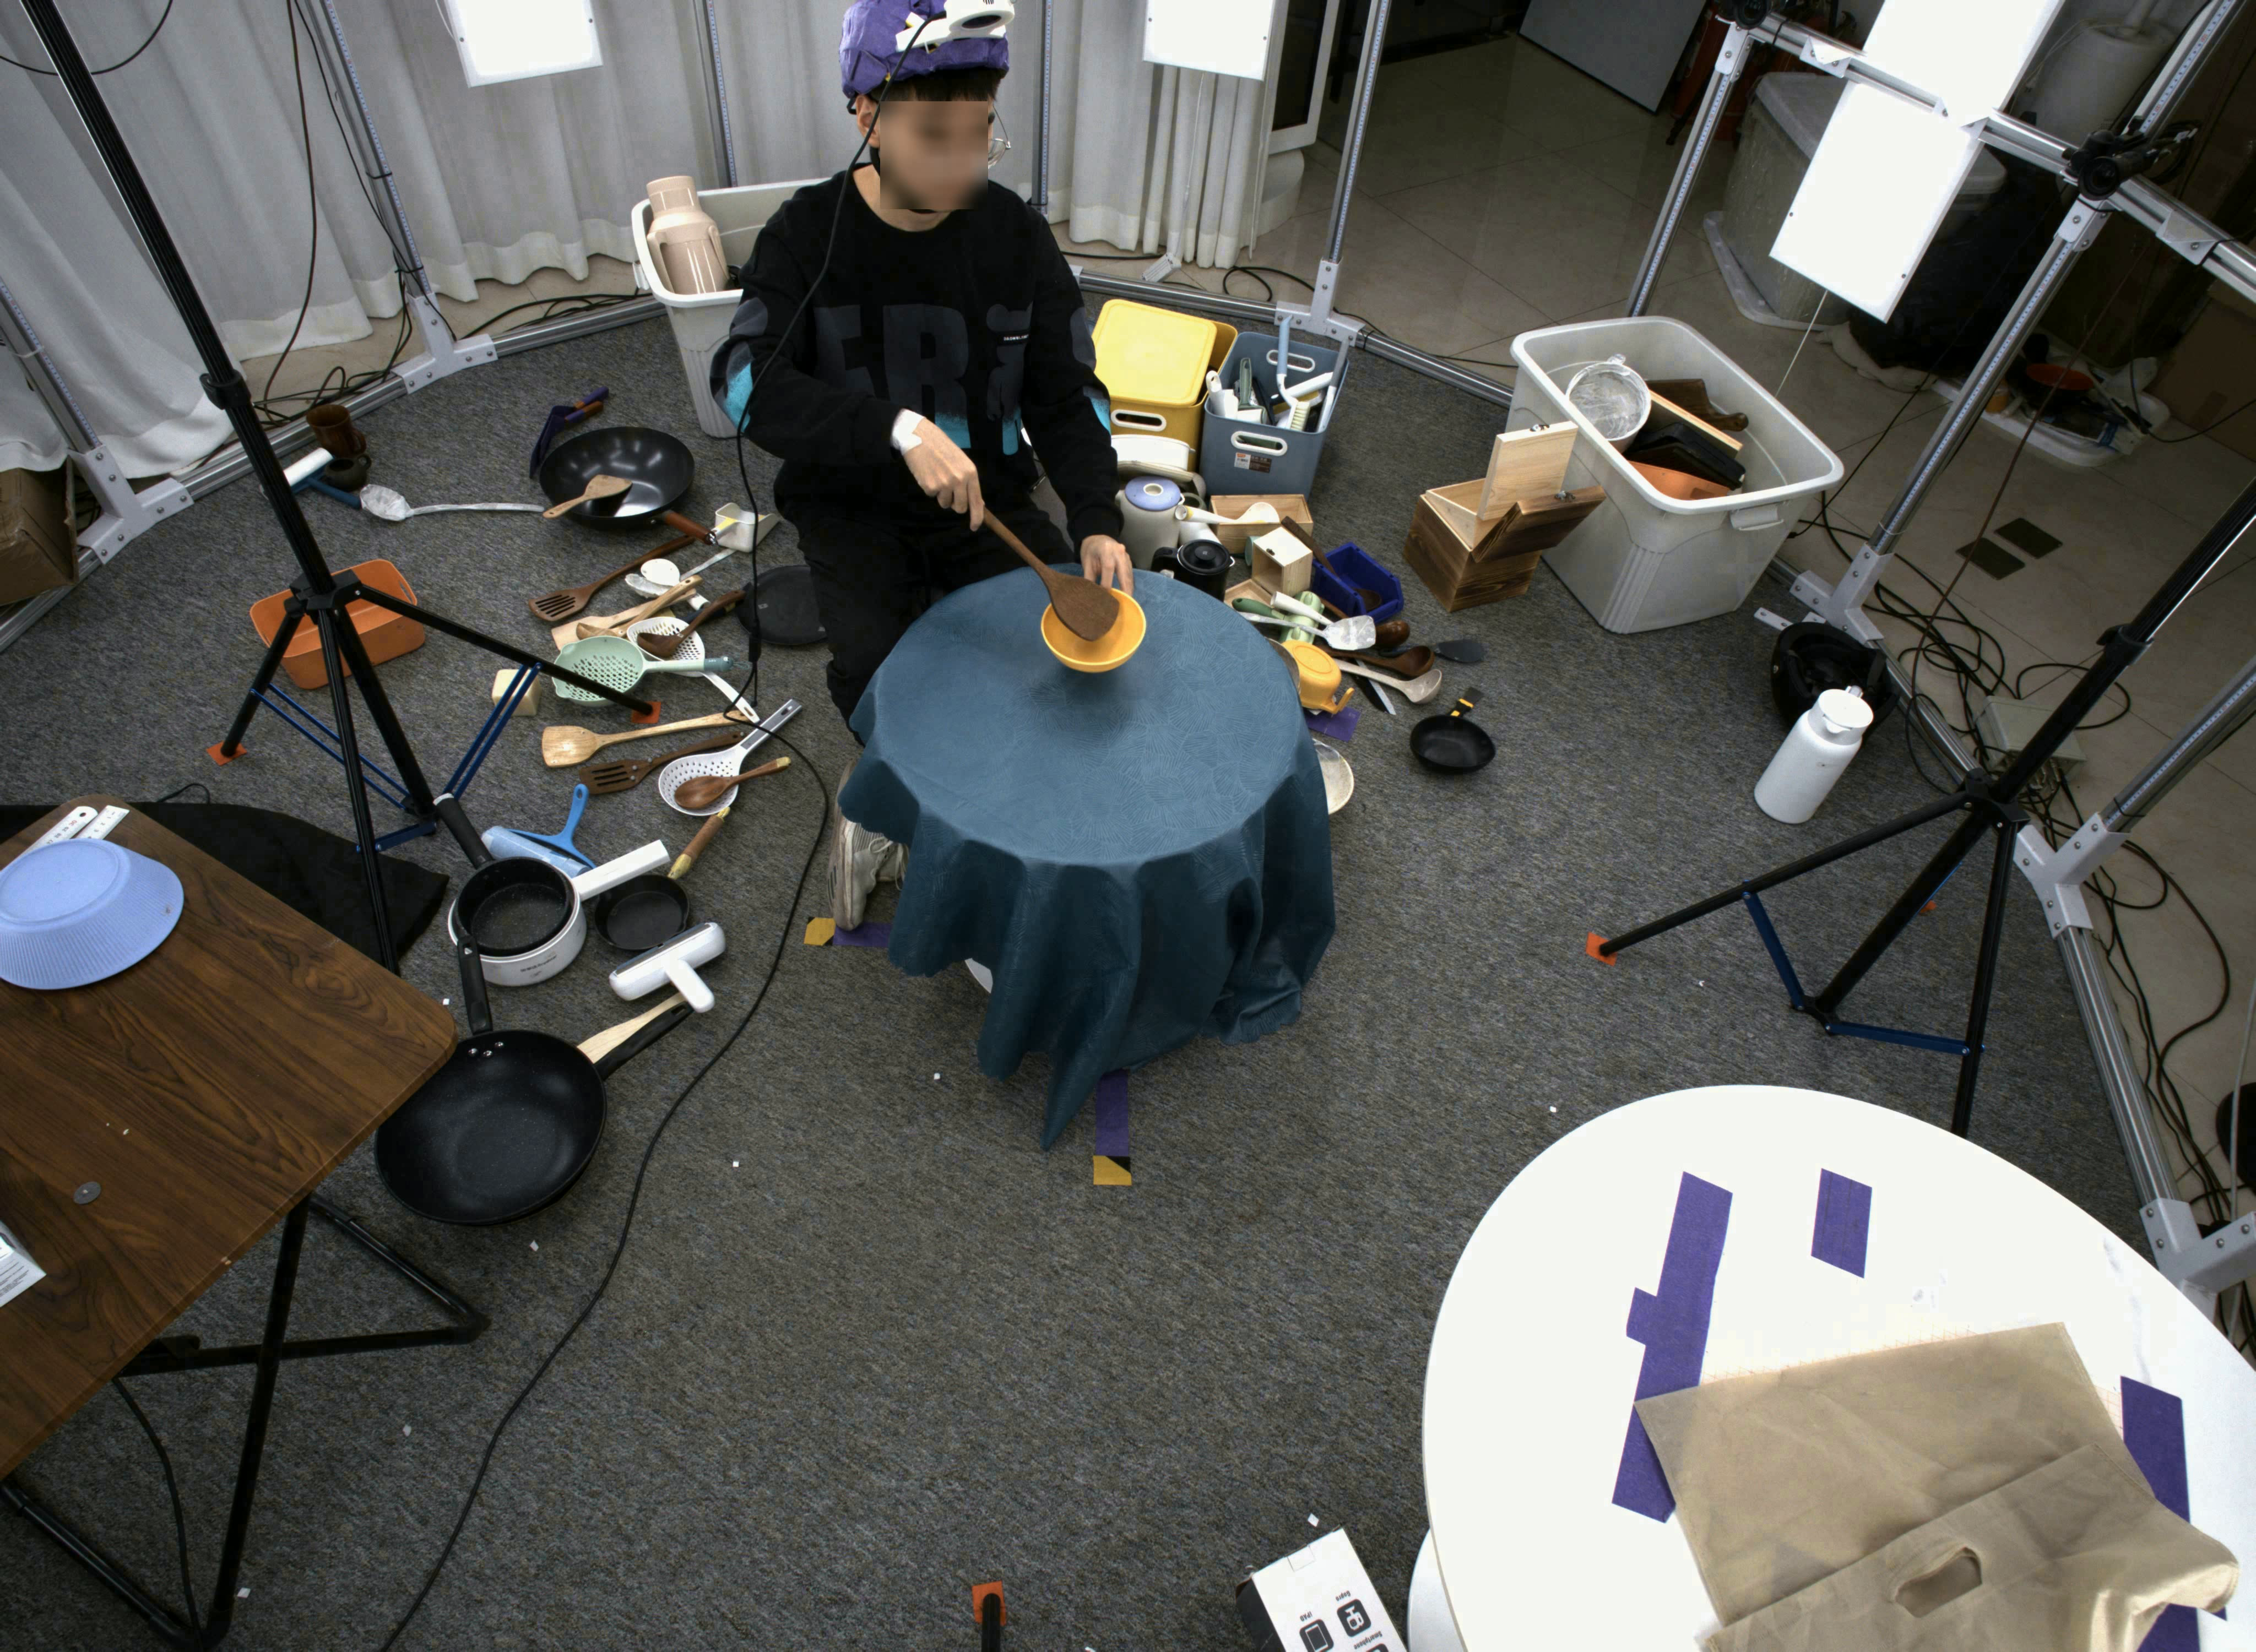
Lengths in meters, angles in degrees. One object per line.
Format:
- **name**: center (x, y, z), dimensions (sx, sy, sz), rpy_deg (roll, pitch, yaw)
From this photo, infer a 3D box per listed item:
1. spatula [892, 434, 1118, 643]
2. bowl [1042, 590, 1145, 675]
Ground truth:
- **spatula**: center (-0.169, -0.398, 1.768), dimensions (0.383, 0.015, 0.098), rpy_deg (41, 53, -10)
- **bowl**: center (-0.048, -0.262, 1.821), dimensions (0.145, 0.059, 0.149), rpy_deg (1, 54, -1)
